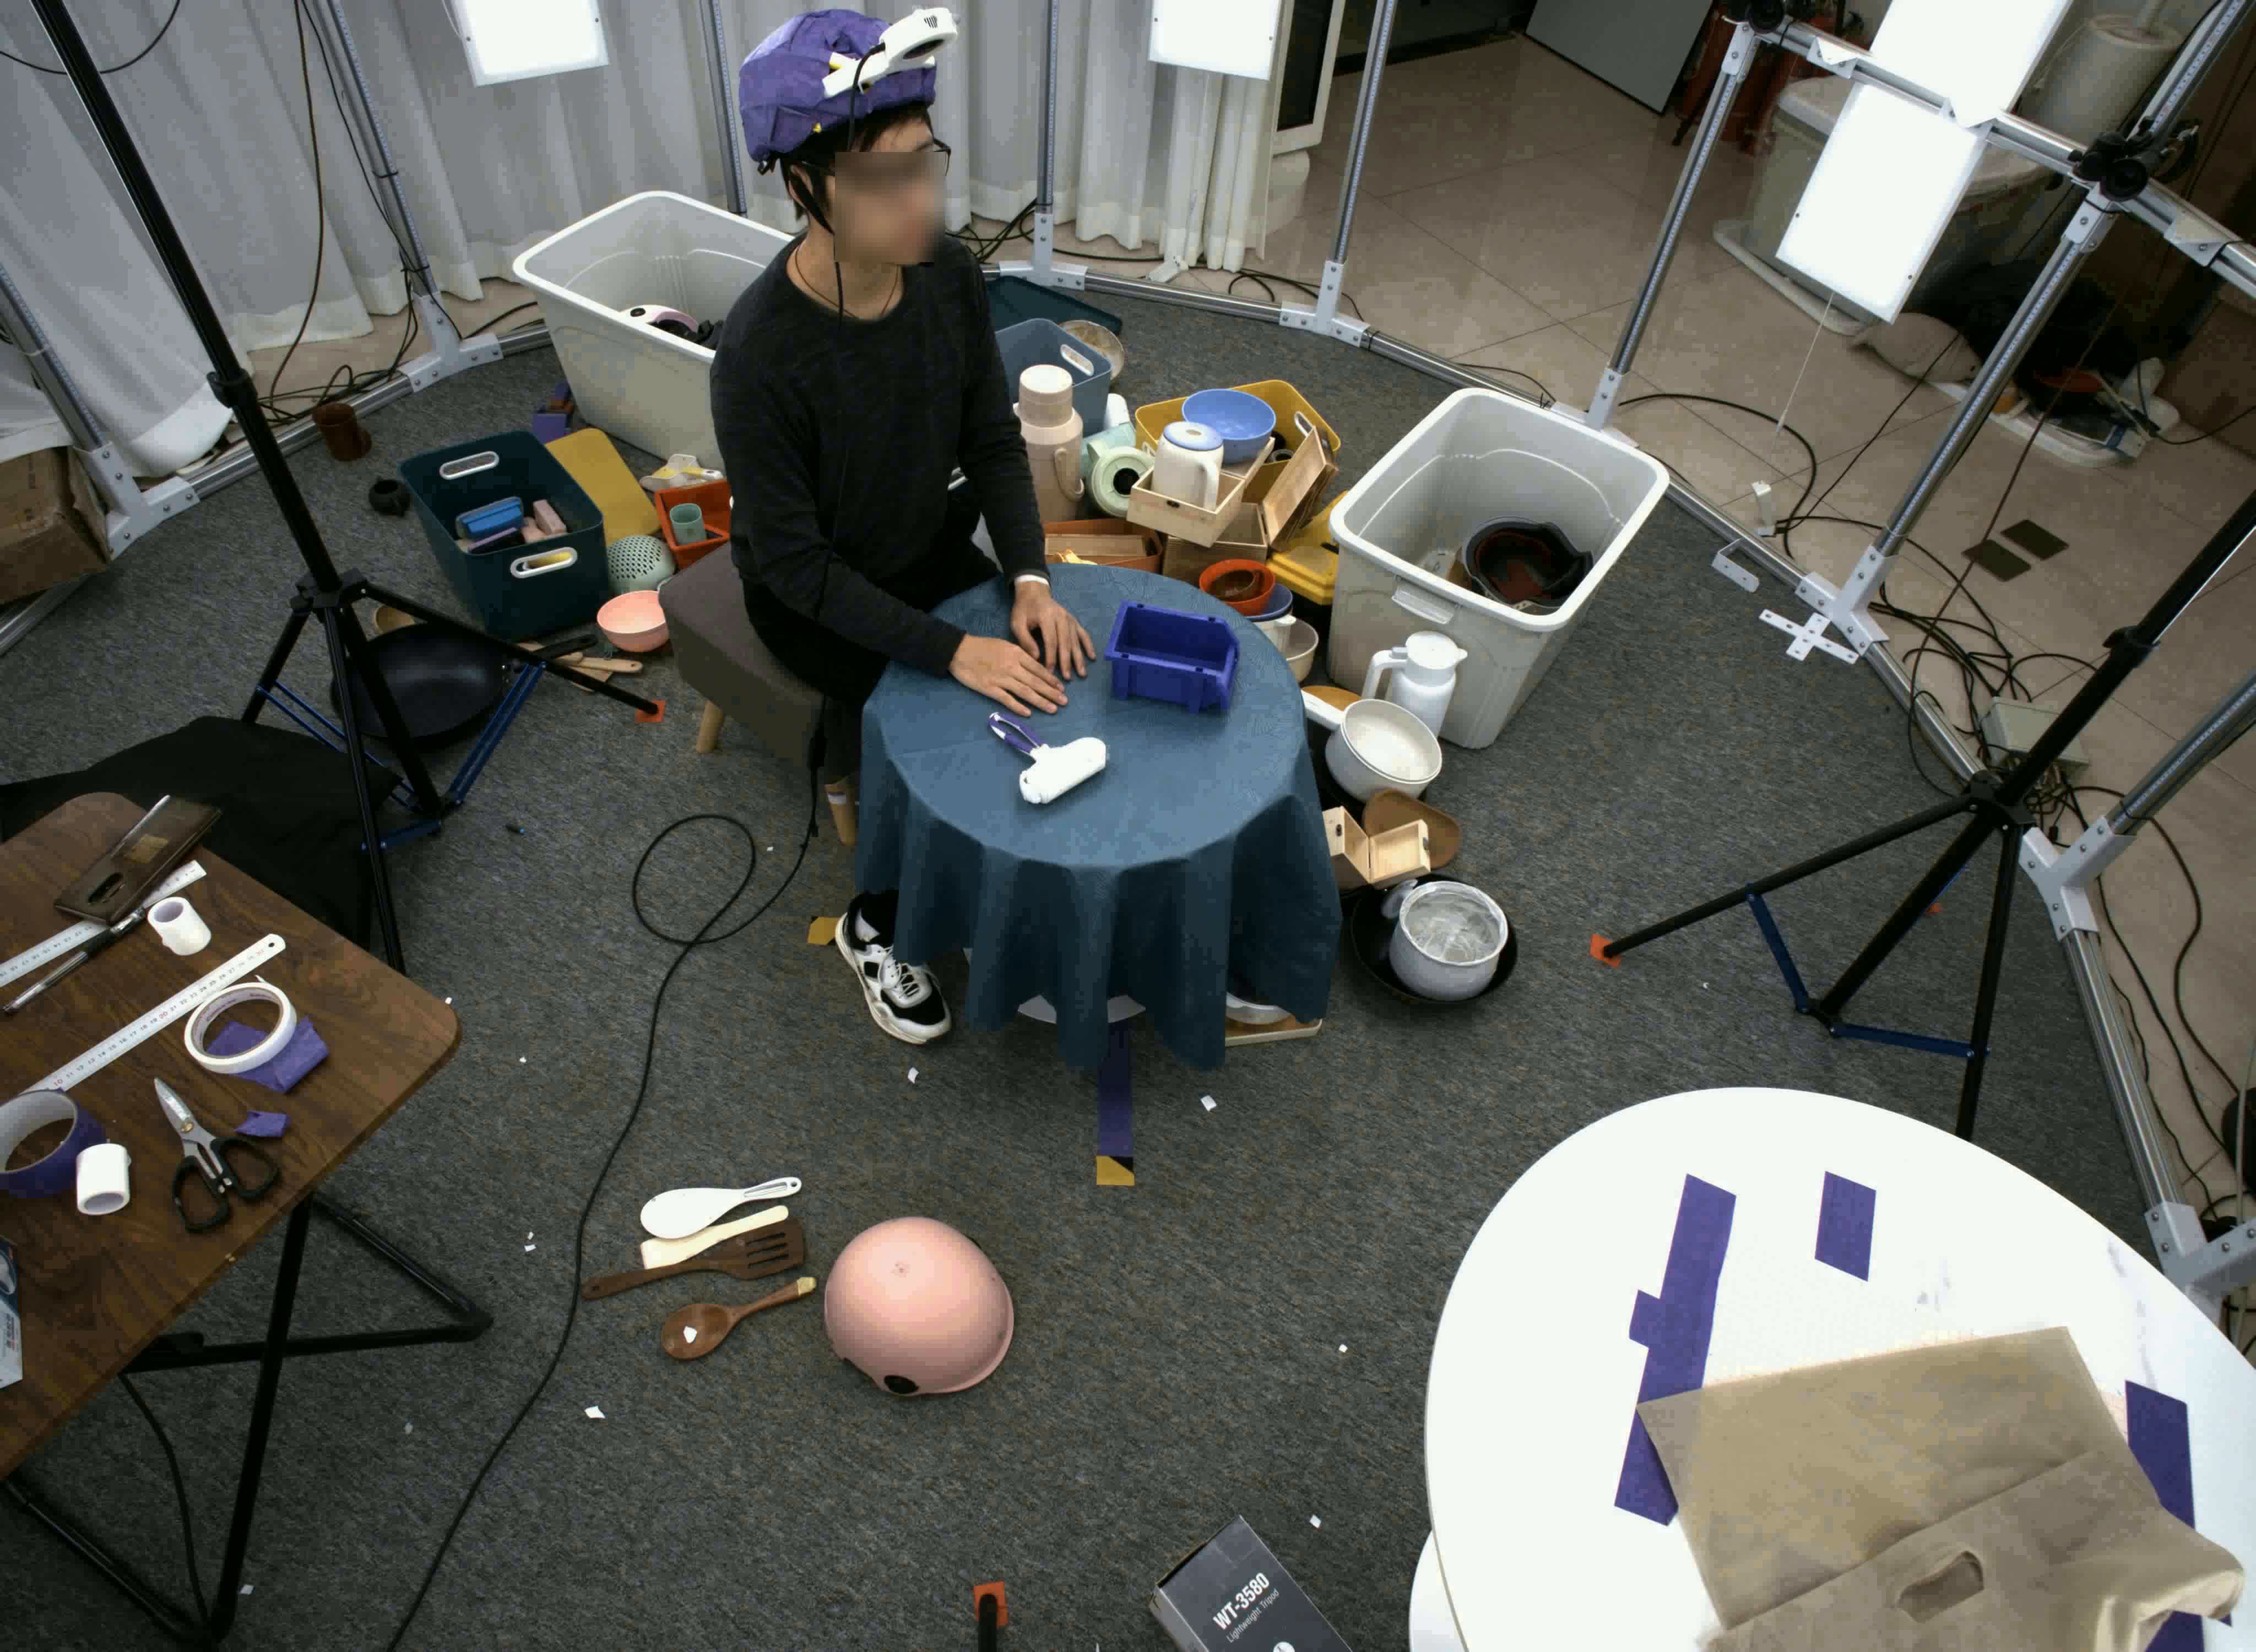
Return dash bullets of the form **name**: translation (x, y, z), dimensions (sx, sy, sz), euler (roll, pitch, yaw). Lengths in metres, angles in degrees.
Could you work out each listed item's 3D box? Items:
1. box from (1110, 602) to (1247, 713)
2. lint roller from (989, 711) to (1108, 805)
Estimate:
- **box**: translation (0.075, -0.239, 1.830), dimensions (0.180, 0.080, 0.127), euler (10, 49, 8)
- **lint roller**: translation (-0.125, -0.113, 1.729), dimensions (0.134, 0.049, 0.184), euler (-31, 59, -26)
